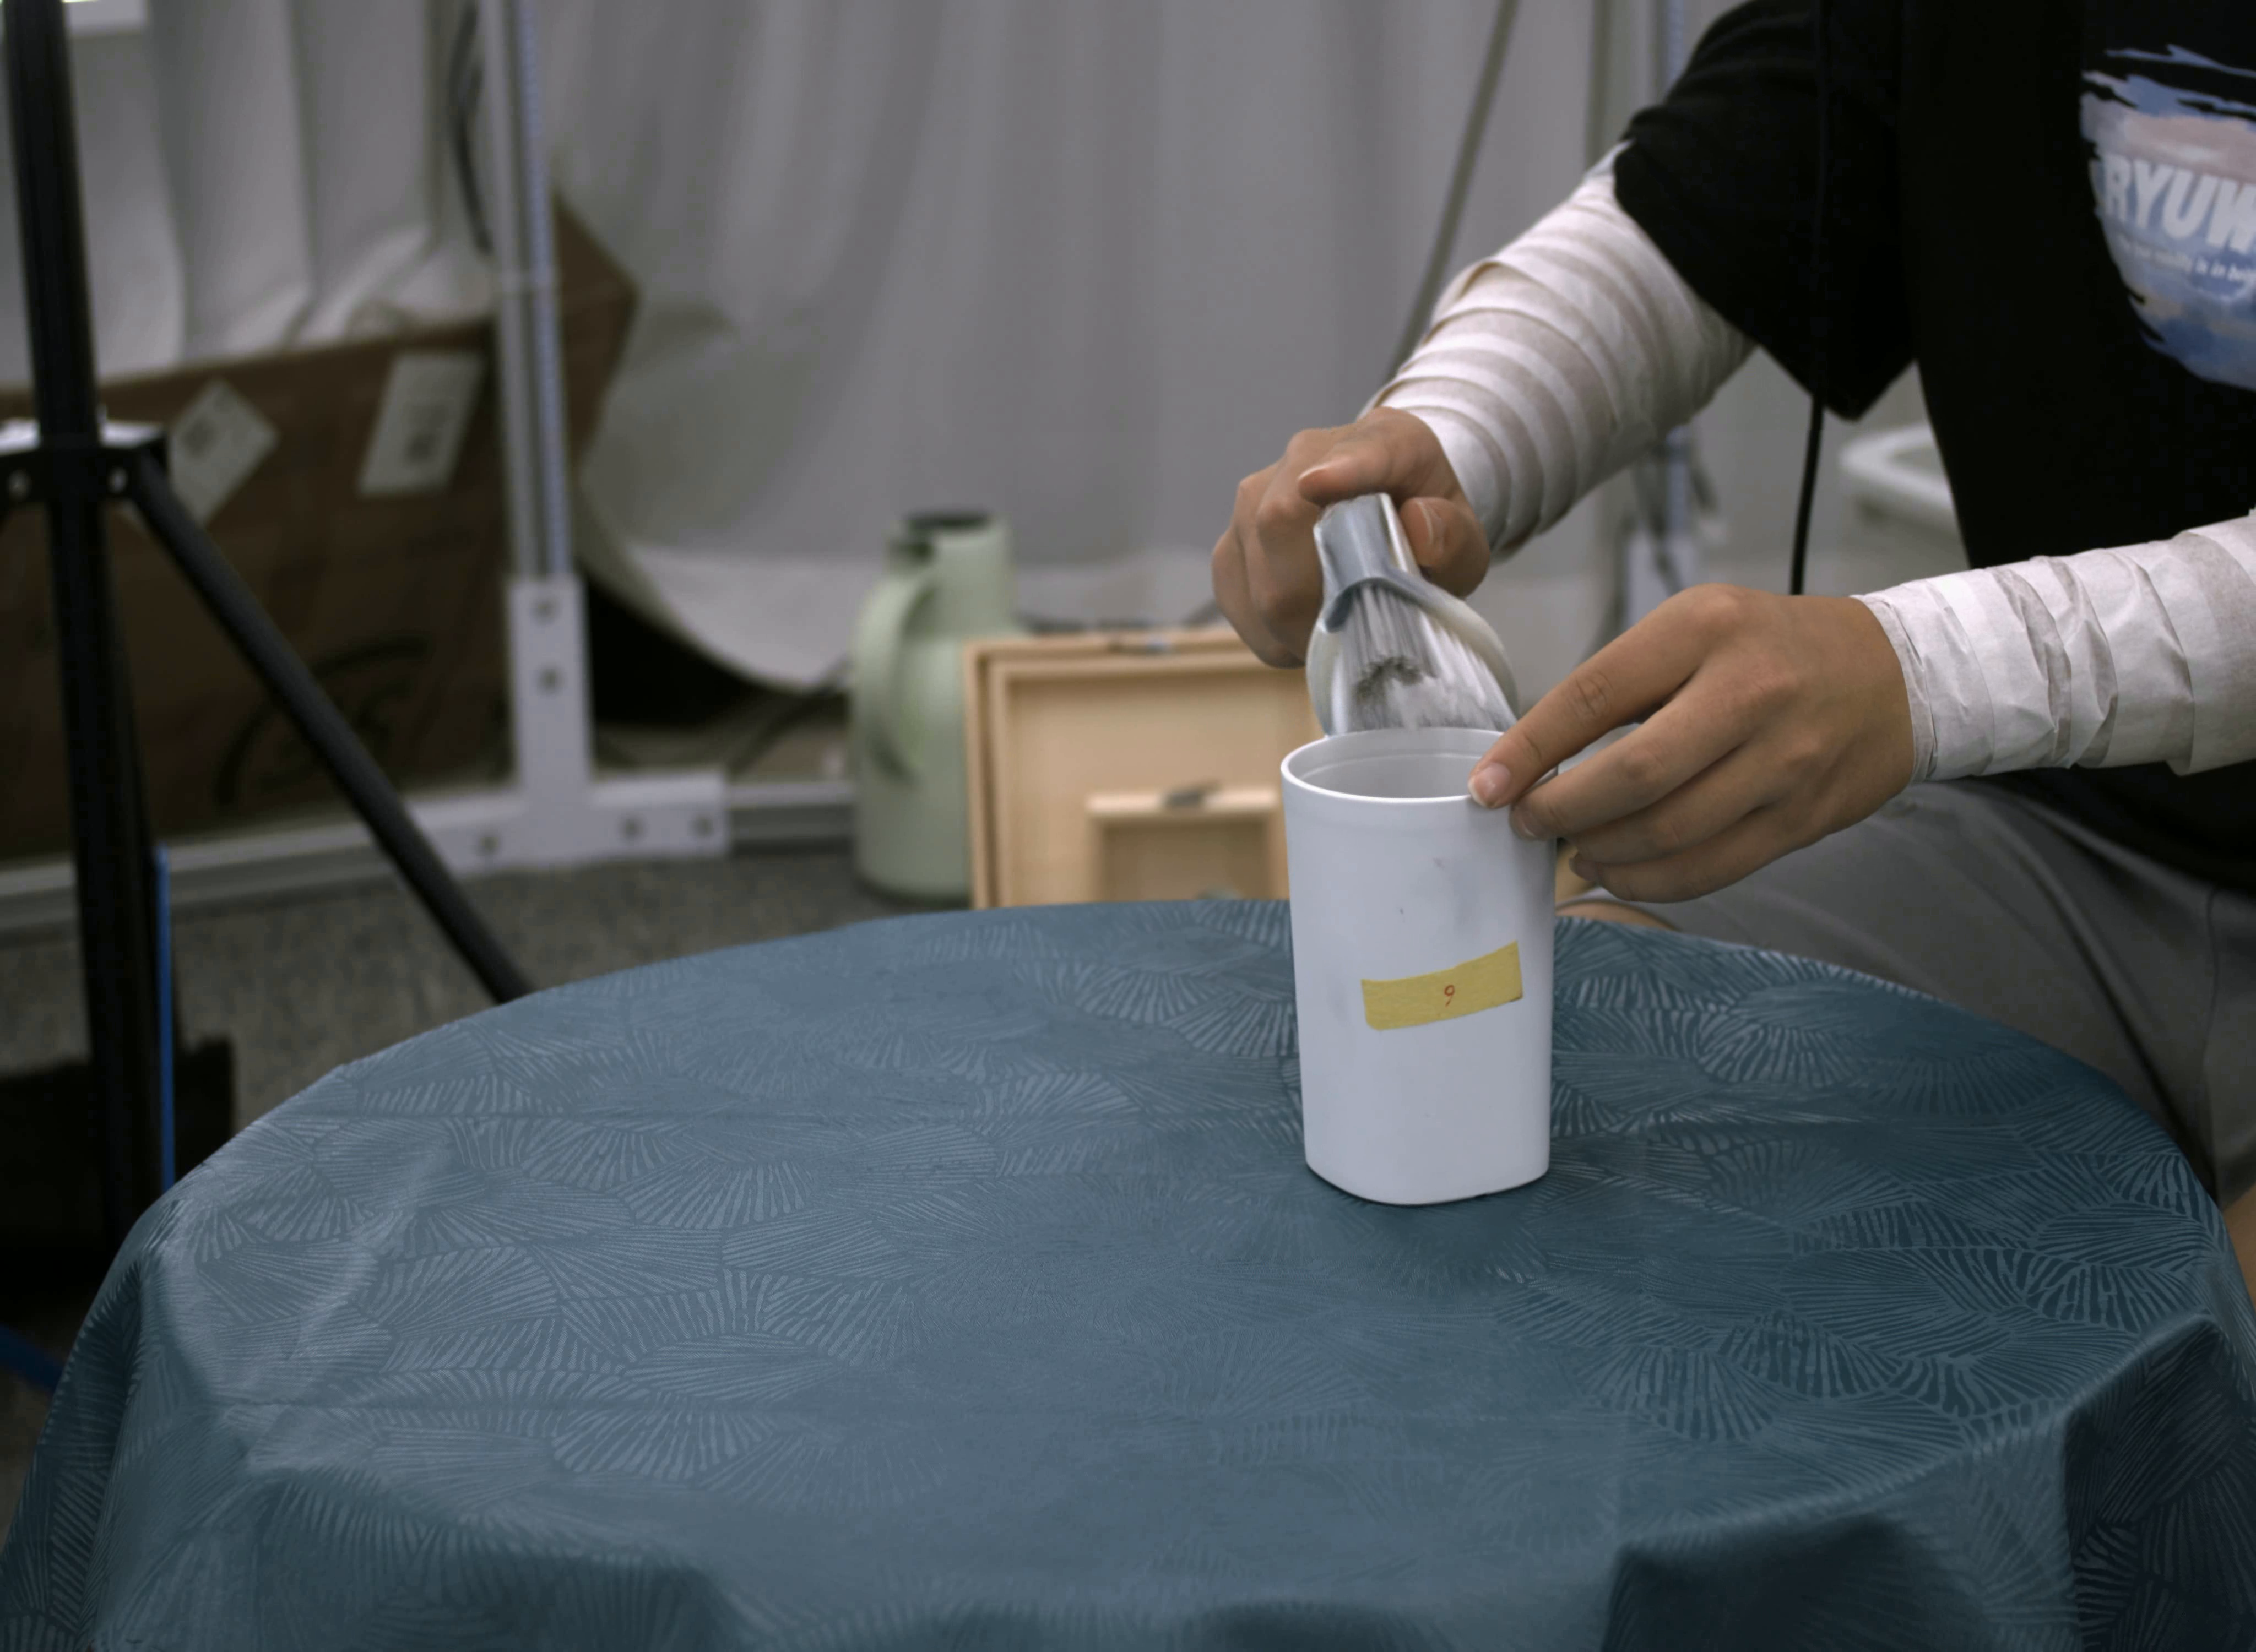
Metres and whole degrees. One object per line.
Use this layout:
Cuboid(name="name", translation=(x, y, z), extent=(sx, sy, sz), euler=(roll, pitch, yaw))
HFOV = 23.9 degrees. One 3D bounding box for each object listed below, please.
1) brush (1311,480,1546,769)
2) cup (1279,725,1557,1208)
Cuboid(name="brush", translation=(0.083, -0.062, 1.613), extent=(0.061, 0.095, 0.173), euler=(-21, -17, 5))
Cuboid(name="cup", translation=(0.087, 0.042, 1.553), extent=(0.081, 0.125, 0.082), euler=(-3, 15, -1))
